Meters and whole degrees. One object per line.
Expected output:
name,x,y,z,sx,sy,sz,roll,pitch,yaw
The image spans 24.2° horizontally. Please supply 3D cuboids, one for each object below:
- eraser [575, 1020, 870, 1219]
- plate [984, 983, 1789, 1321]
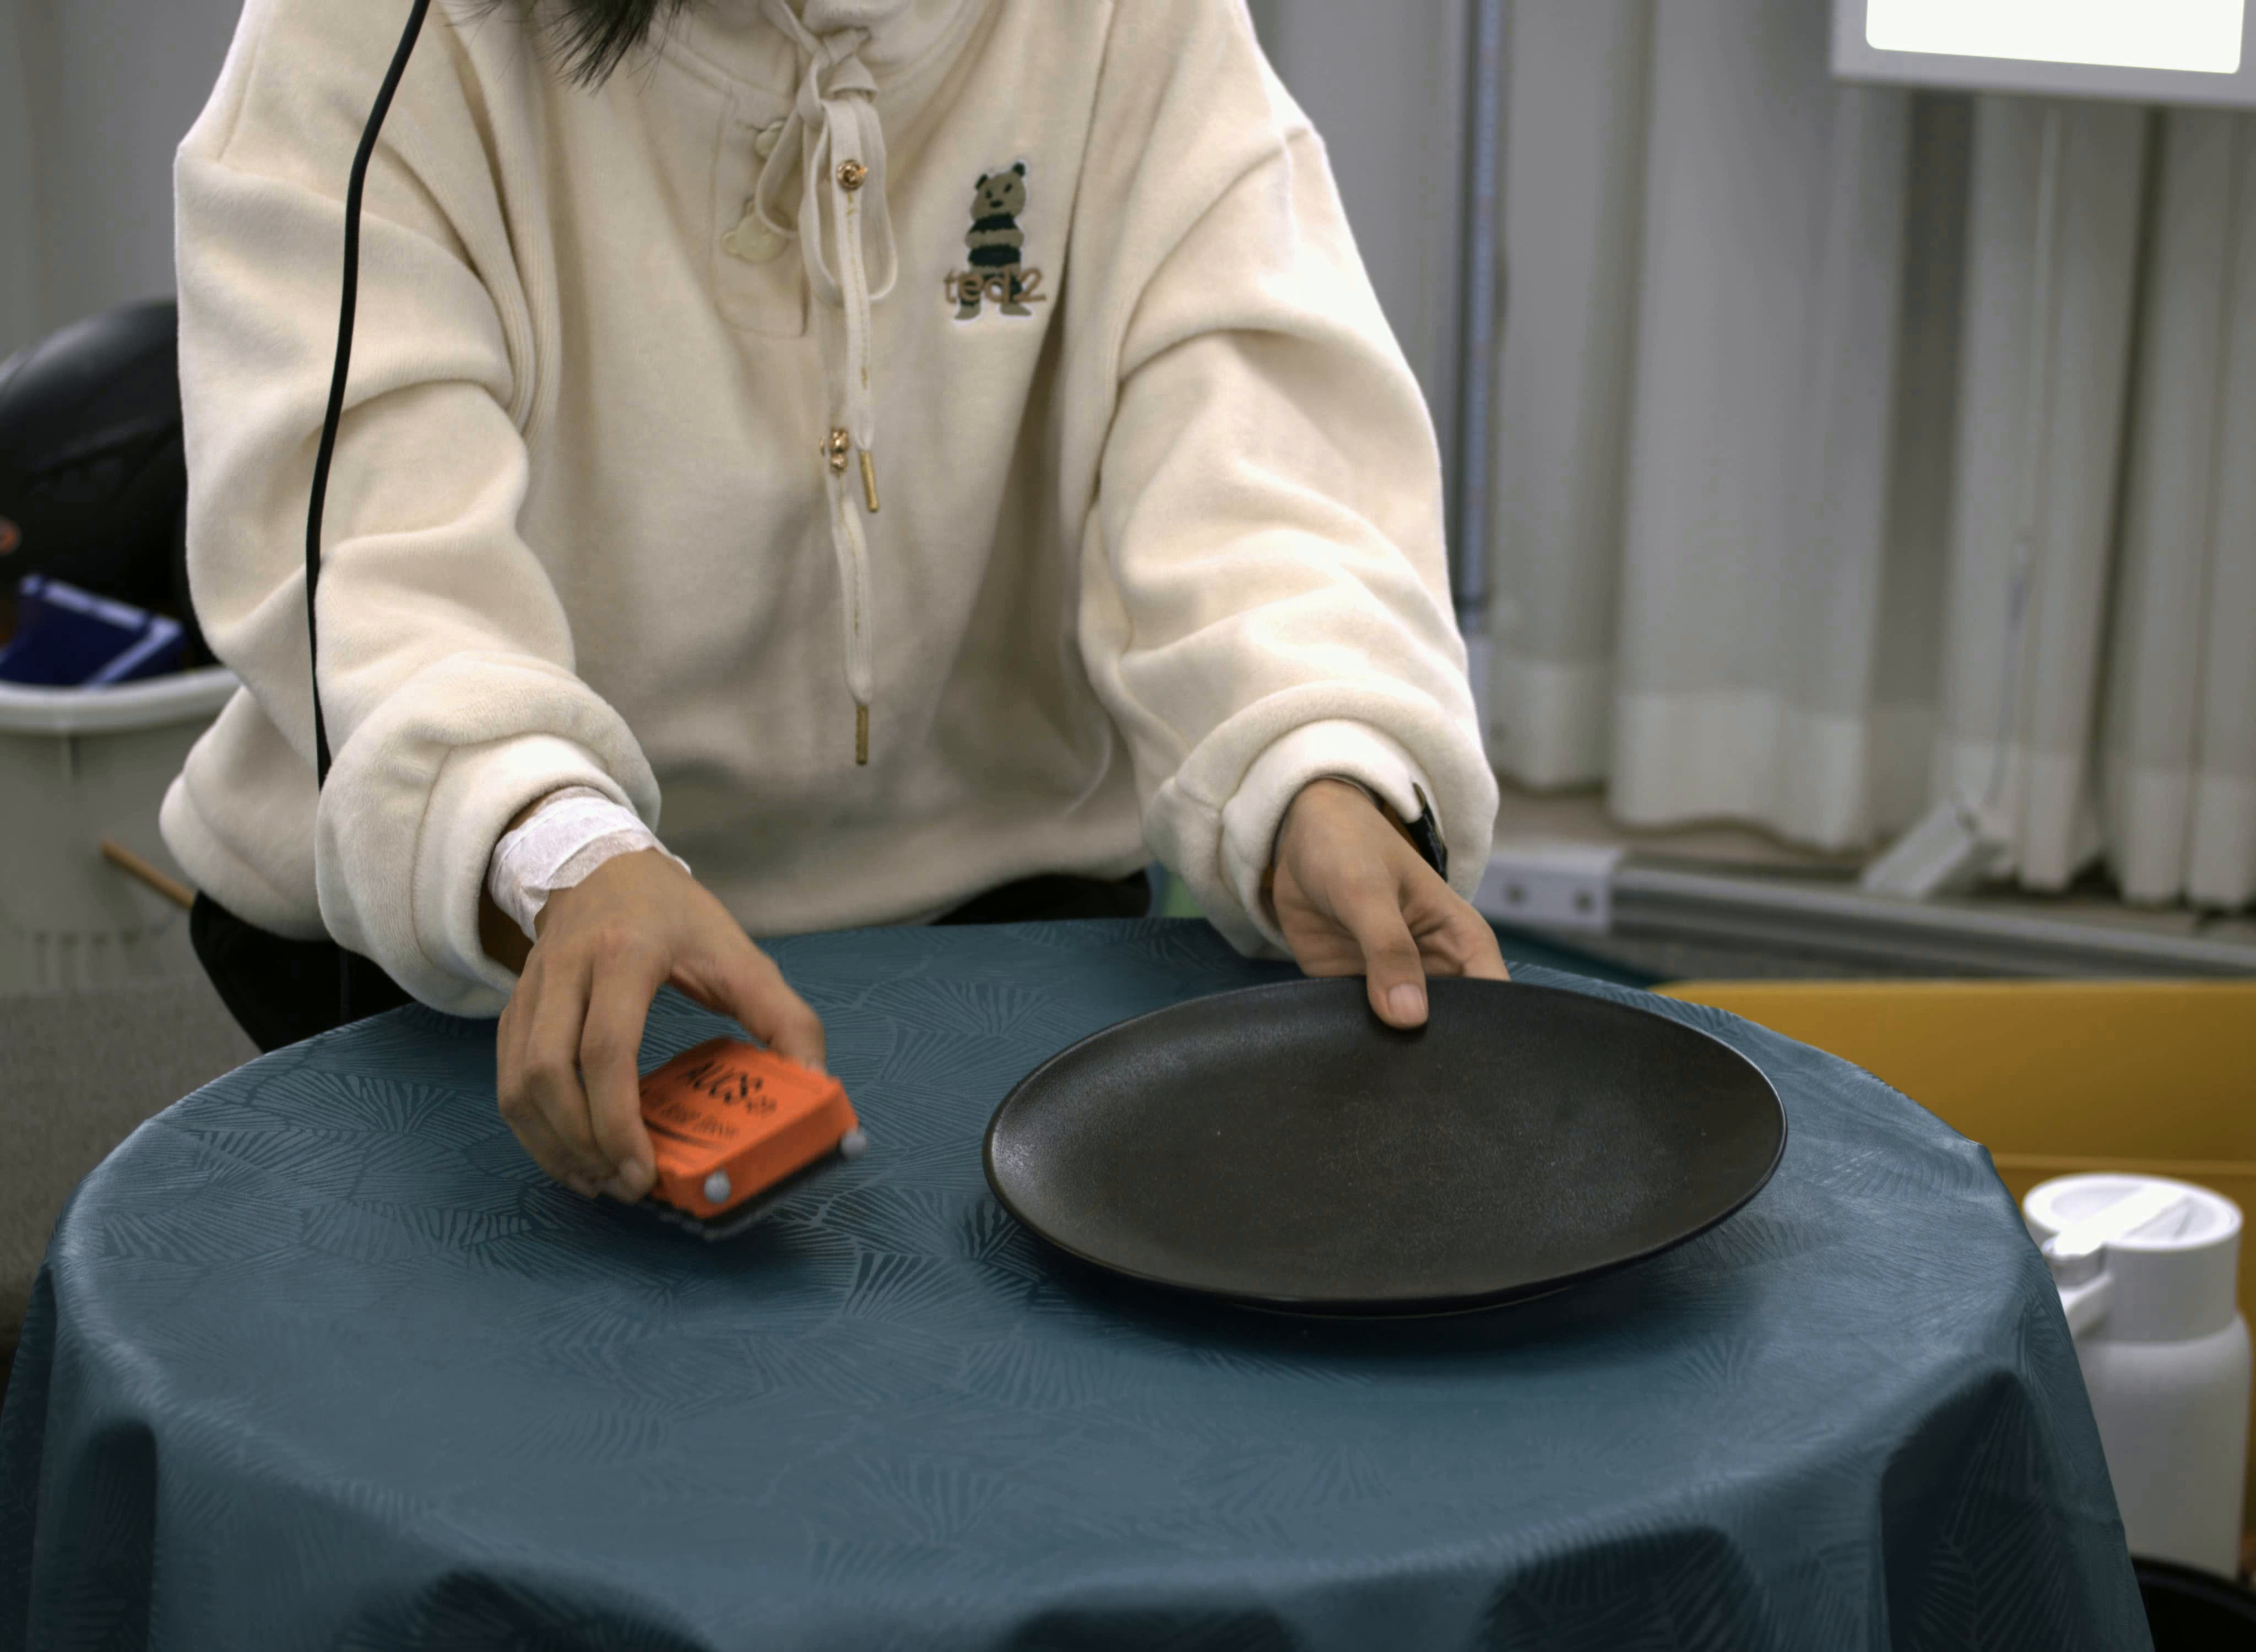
eraser,-0.123,0.087,1.590,0.059,0.023,0.107,-32,19,-19
plate,0.078,0.101,1.592,0.243,0.023,0.243,-2,20,1
